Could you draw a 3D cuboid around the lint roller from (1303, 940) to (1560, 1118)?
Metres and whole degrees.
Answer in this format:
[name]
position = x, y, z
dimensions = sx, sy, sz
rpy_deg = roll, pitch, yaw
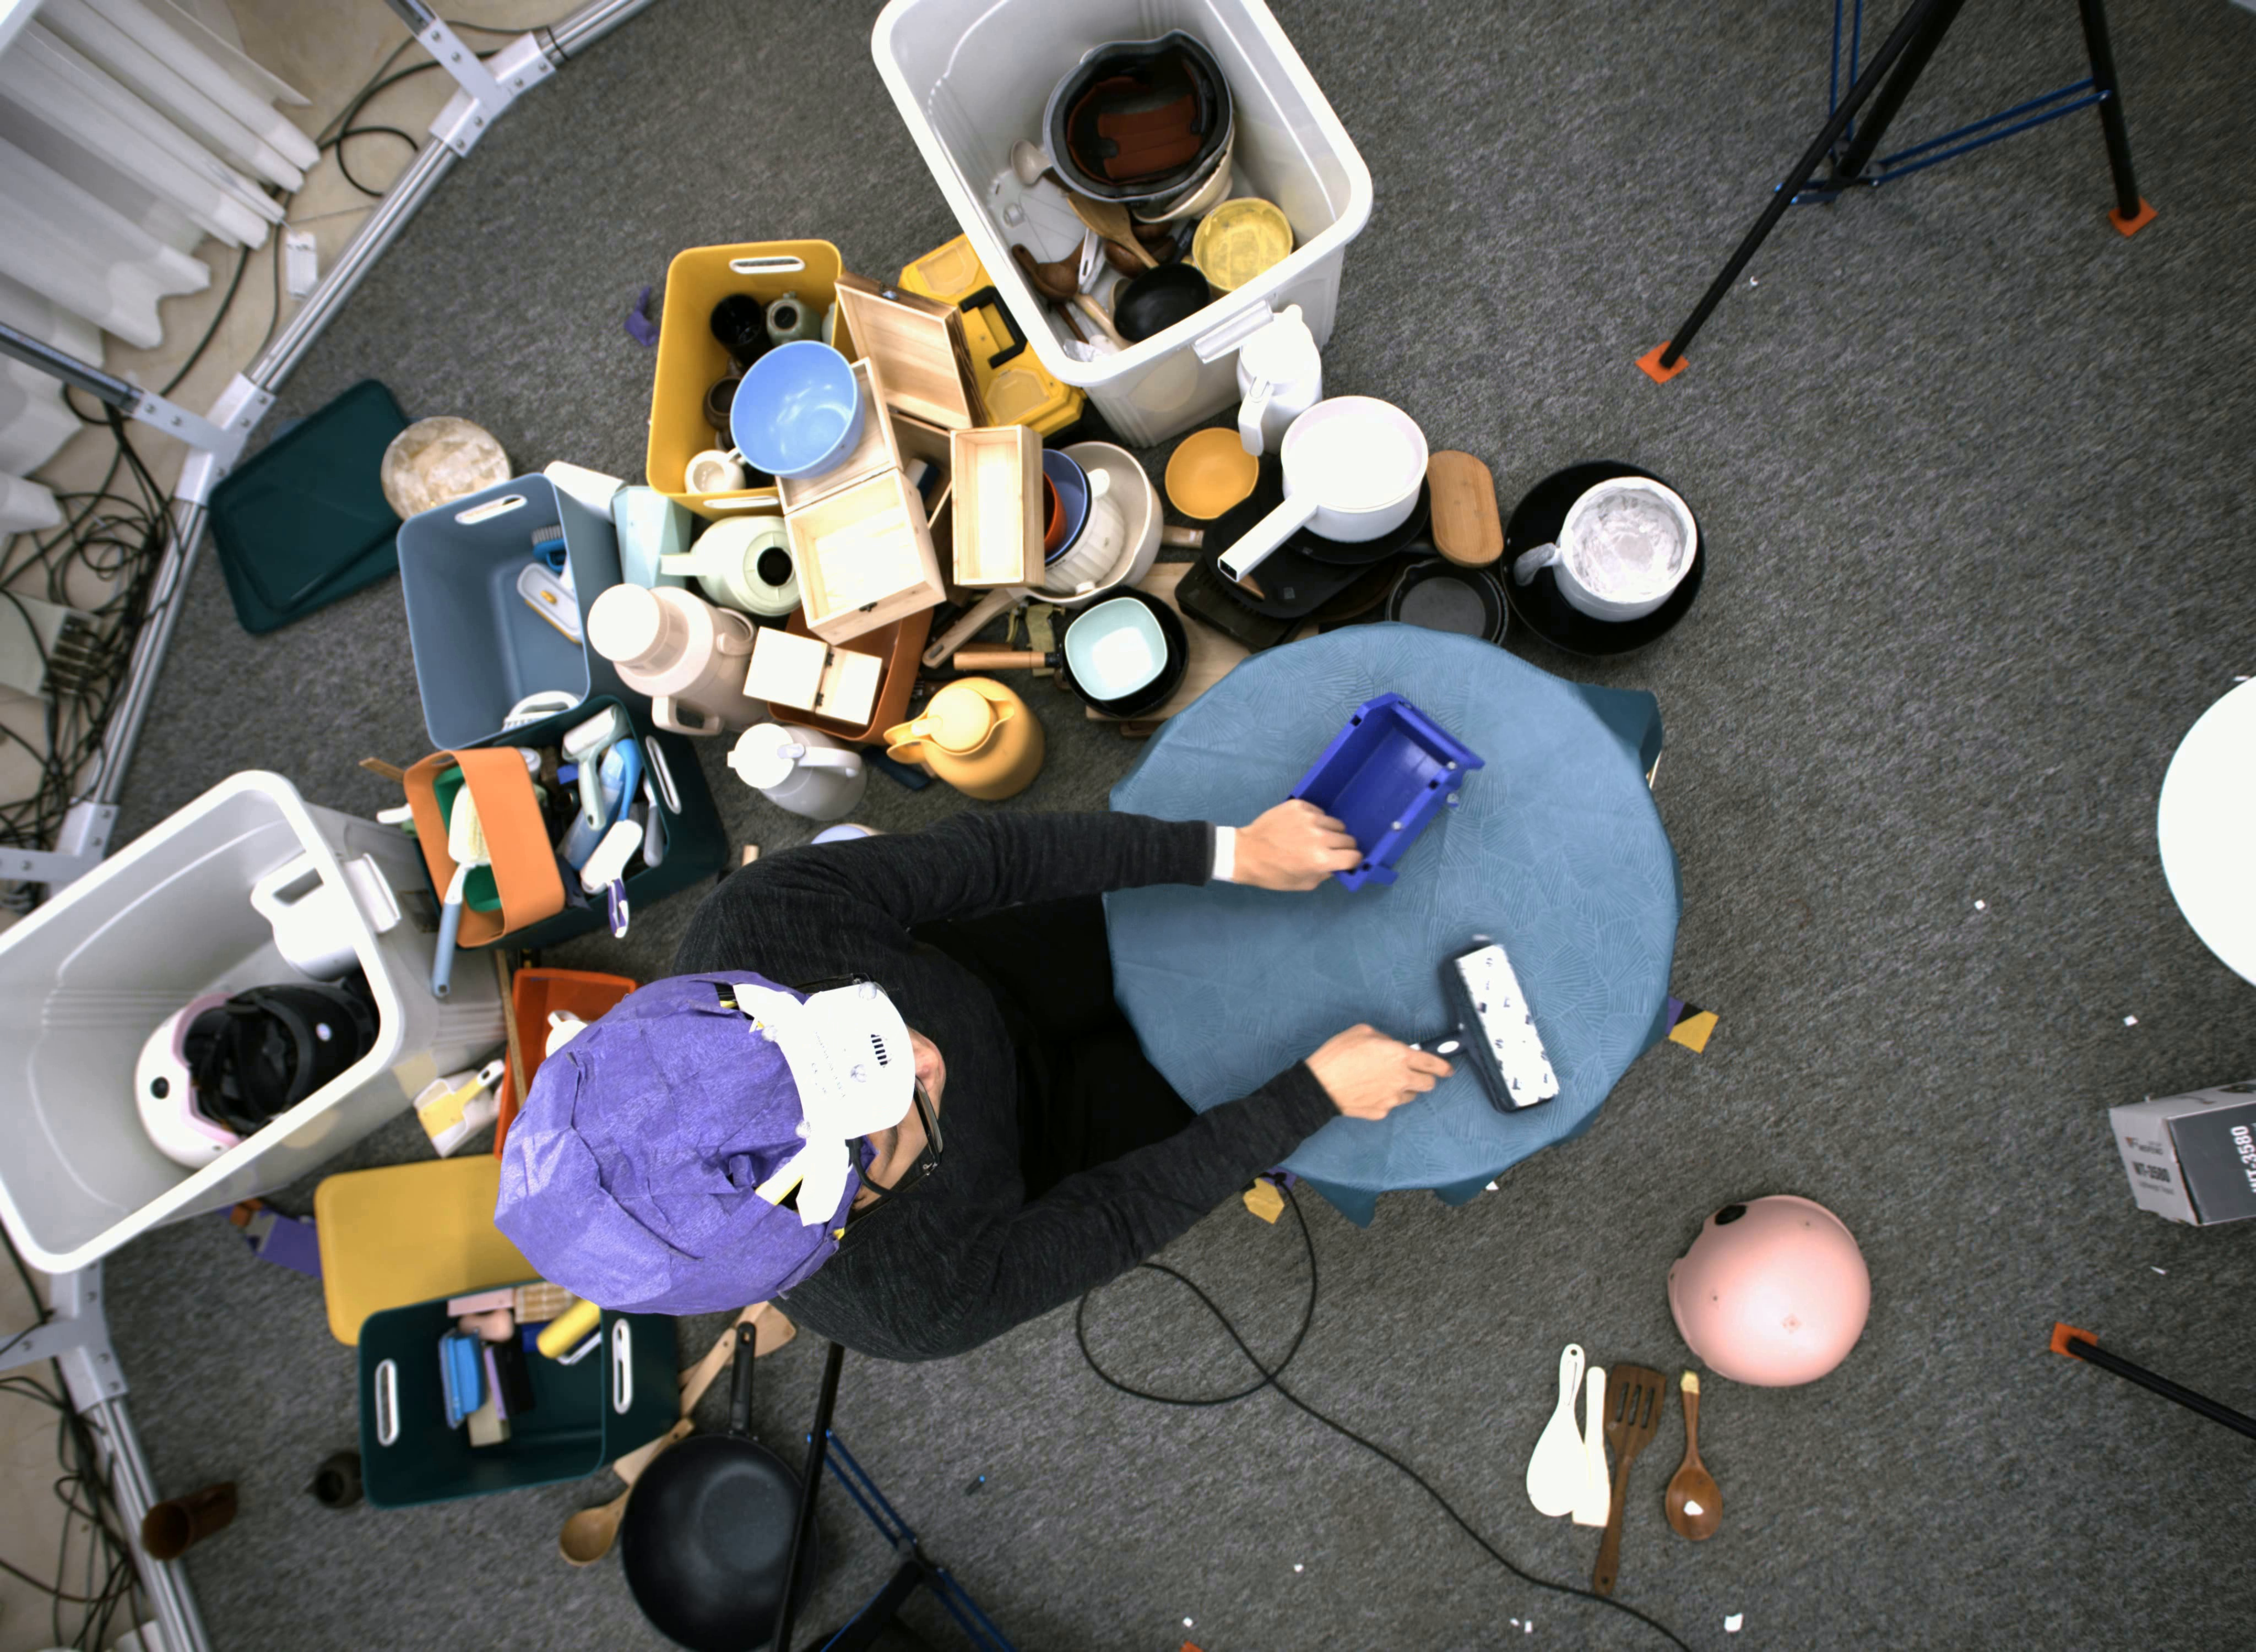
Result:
[lint roller]
position = 0.299, 0.237, 1.419
dimensions = 0.248, 0.050, 0.175
rpy_deg = -20, 84, 7

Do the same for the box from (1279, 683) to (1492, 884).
[box]
position = 0.262, -0.047, 1.404
dimensions = 0.123, 0.081, 0.181
rpy_deg = 44, 106, 23
